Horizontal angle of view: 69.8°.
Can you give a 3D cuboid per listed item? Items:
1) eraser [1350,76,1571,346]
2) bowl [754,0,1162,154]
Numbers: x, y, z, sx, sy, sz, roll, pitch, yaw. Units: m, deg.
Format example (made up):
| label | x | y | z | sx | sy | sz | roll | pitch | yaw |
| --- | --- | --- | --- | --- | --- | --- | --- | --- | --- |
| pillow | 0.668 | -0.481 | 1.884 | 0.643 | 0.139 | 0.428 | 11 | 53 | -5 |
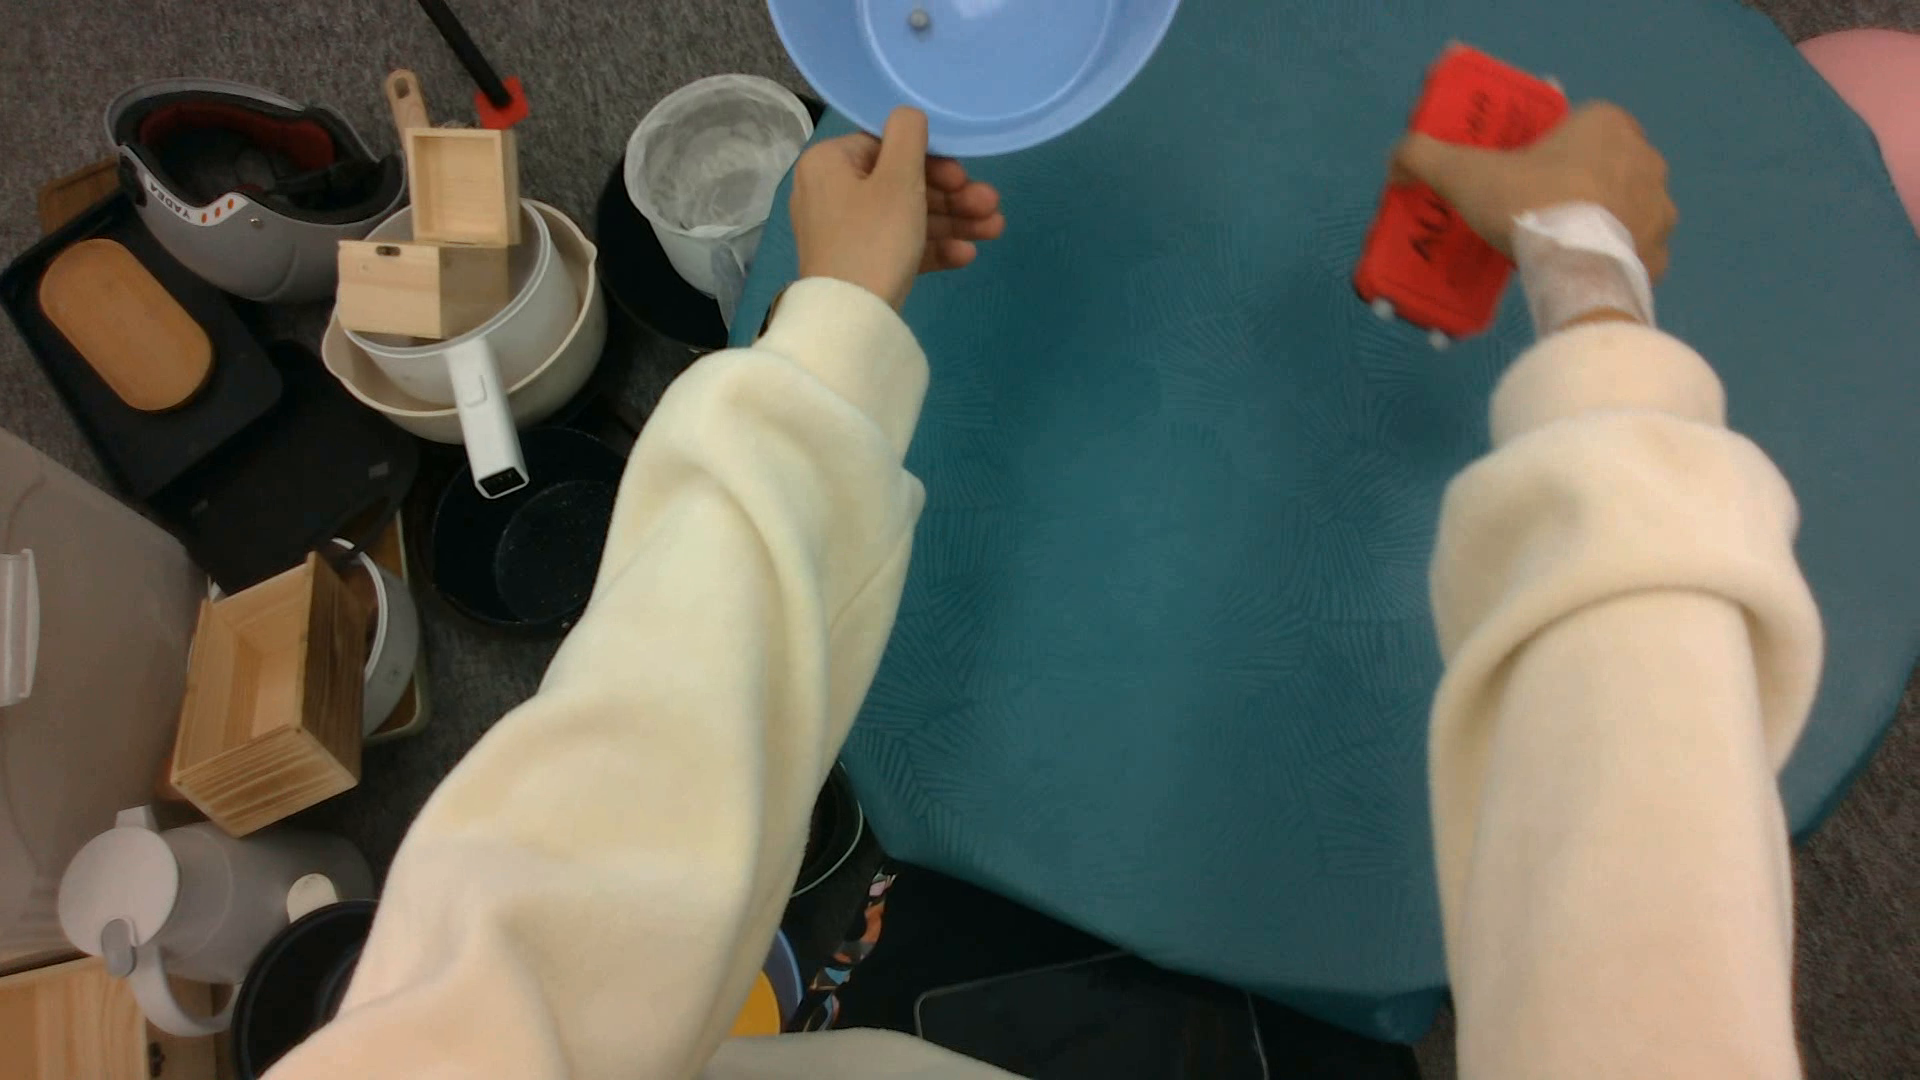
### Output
| label | x | y | z | sx | sy | sz | roll | pitch | yaw |
| --- | --- | --- | --- | --- | --- | --- | --- | --- | --- |
| eraser | 0.219 | -0.143 | 0.602 | 0.059 | 0.023 | 0.108 | 26 | 88 | -5 |
| bowl | 0.001 | -0.246 | 0.591 | 0.176 | 0.070 | 0.176 | 0 | 91 | 2 |
